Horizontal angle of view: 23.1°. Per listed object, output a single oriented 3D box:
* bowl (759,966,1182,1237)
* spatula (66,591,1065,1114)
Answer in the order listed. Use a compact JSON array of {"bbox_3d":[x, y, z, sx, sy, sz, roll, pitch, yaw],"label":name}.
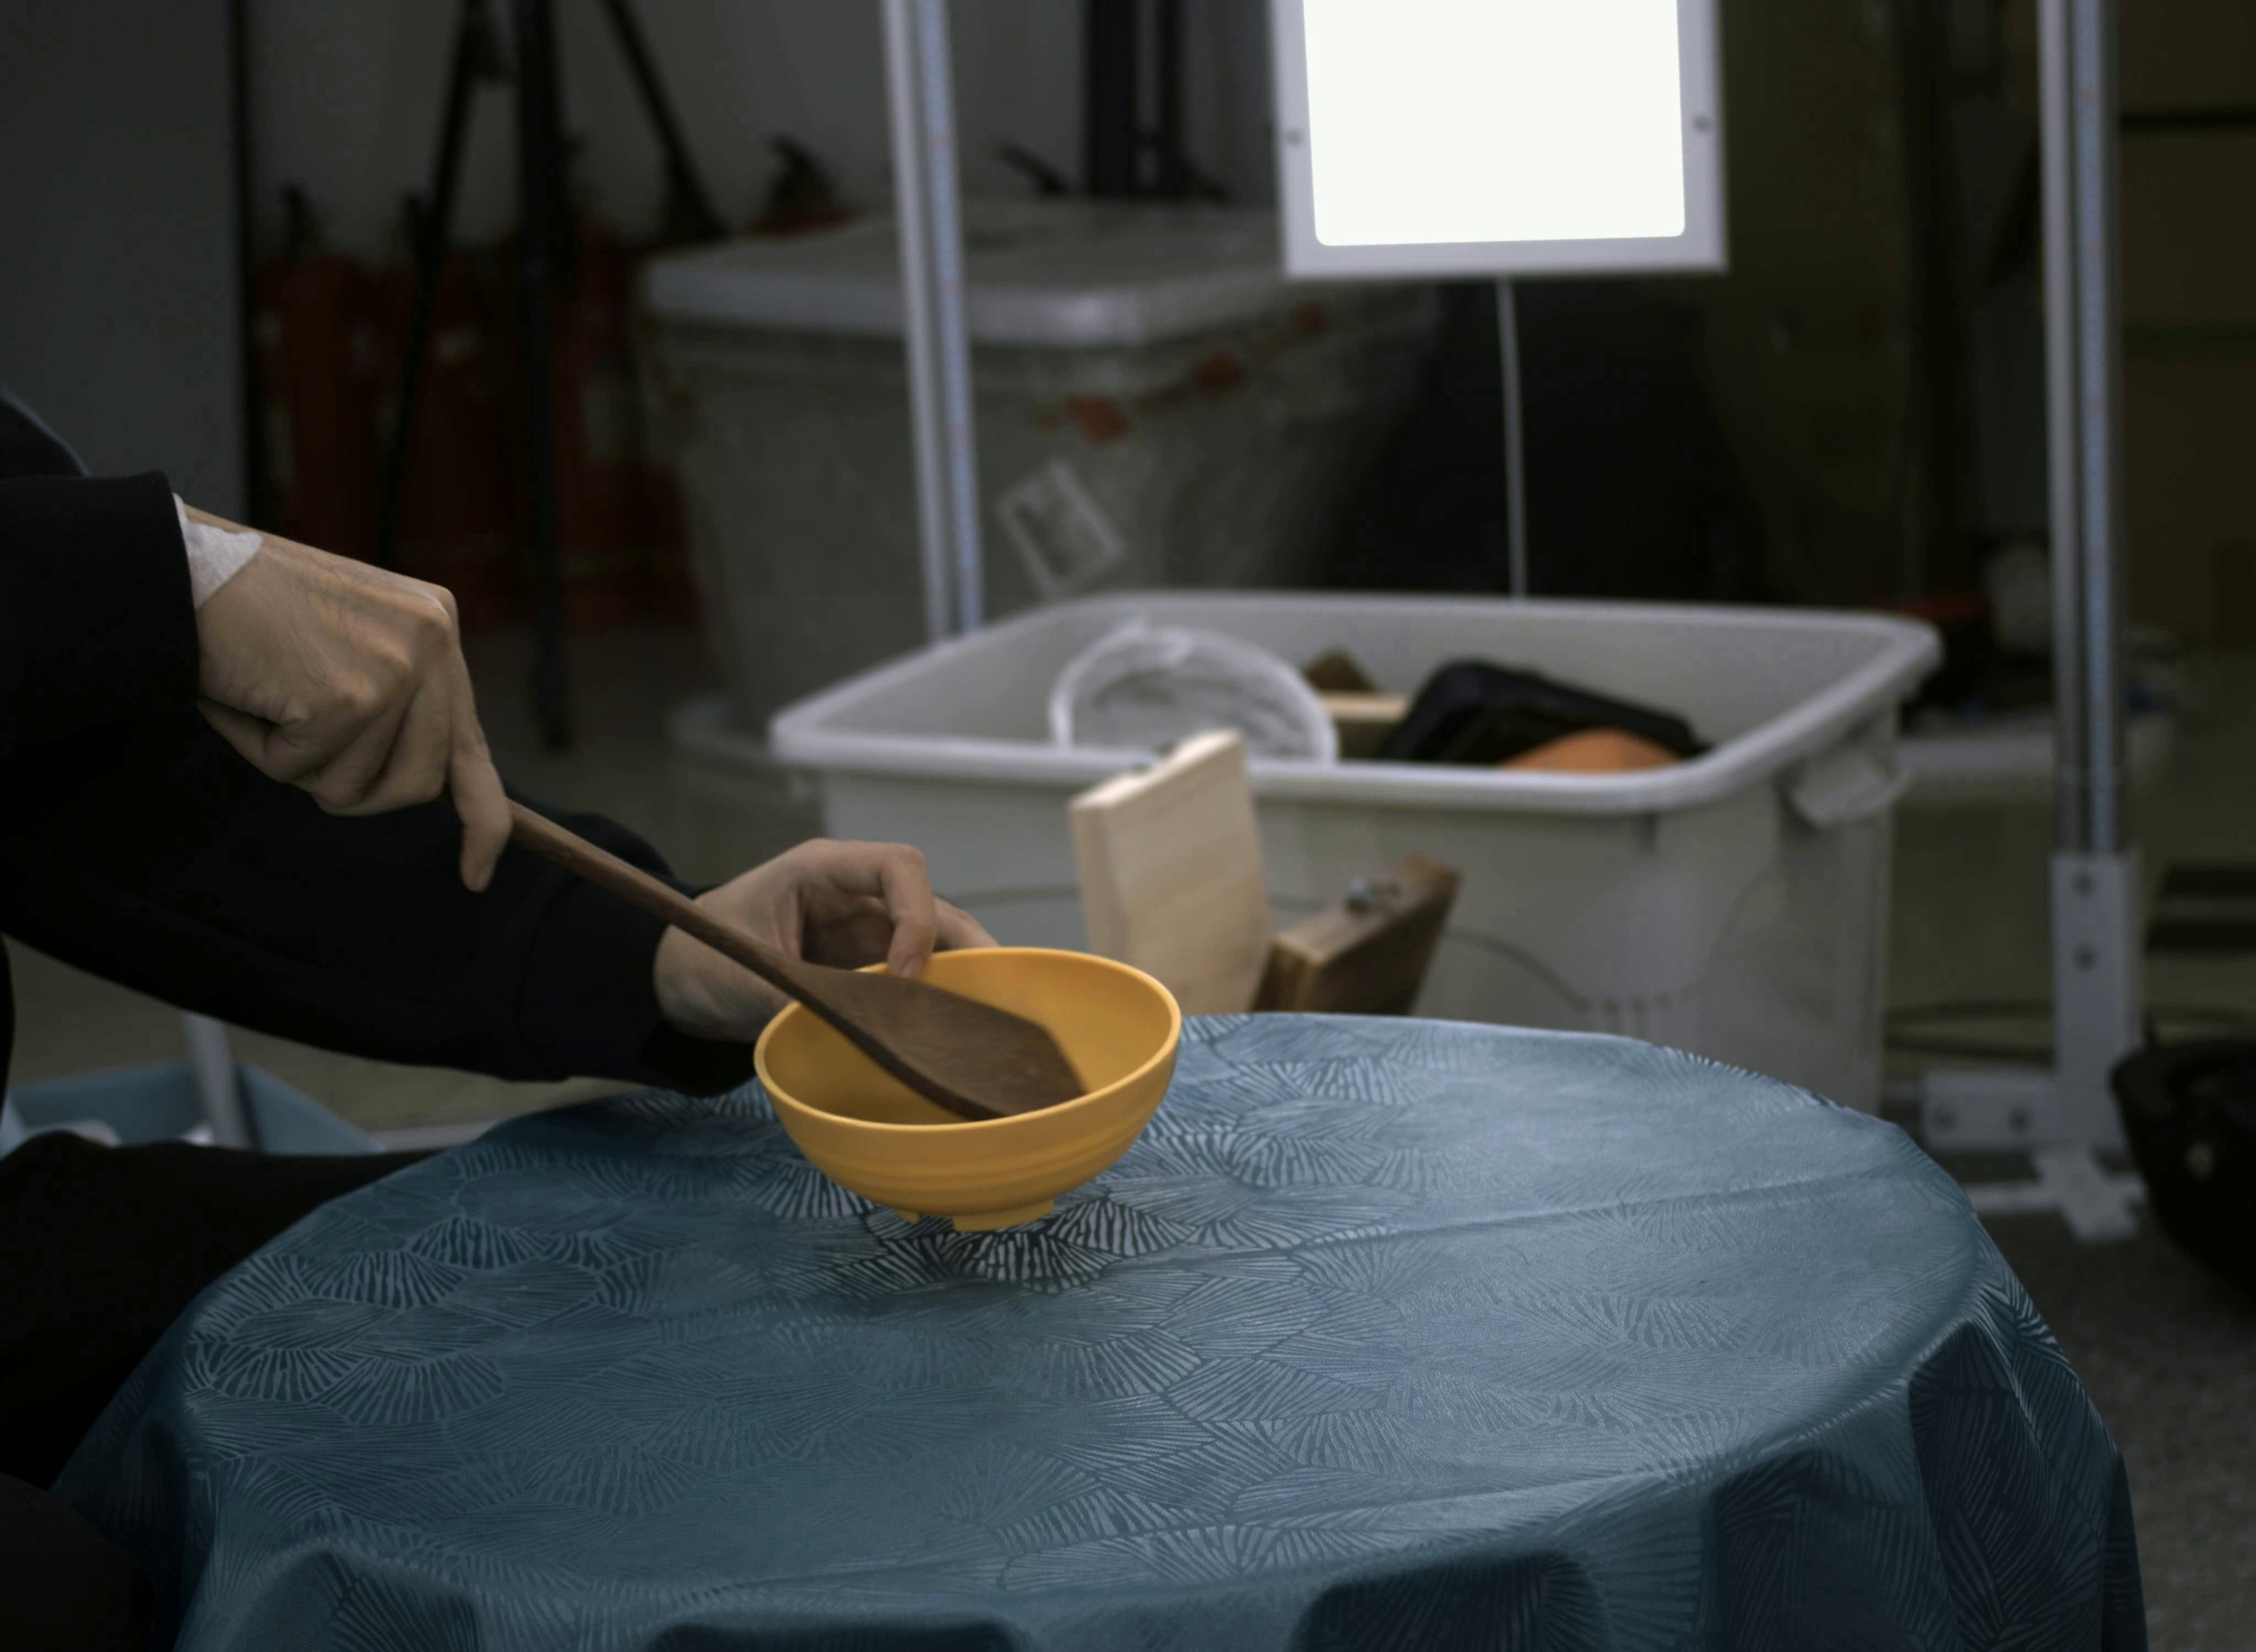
[{"bbox_3d":[-0.051,0.099,1.859,0.145,0.060,0.145,-6,19,1],"label":"bowl"},{"bbox_3d":[-0.176,0.013,1.816,0.381,0.016,0.096,29,16,-19],"label":"spatula"}]
